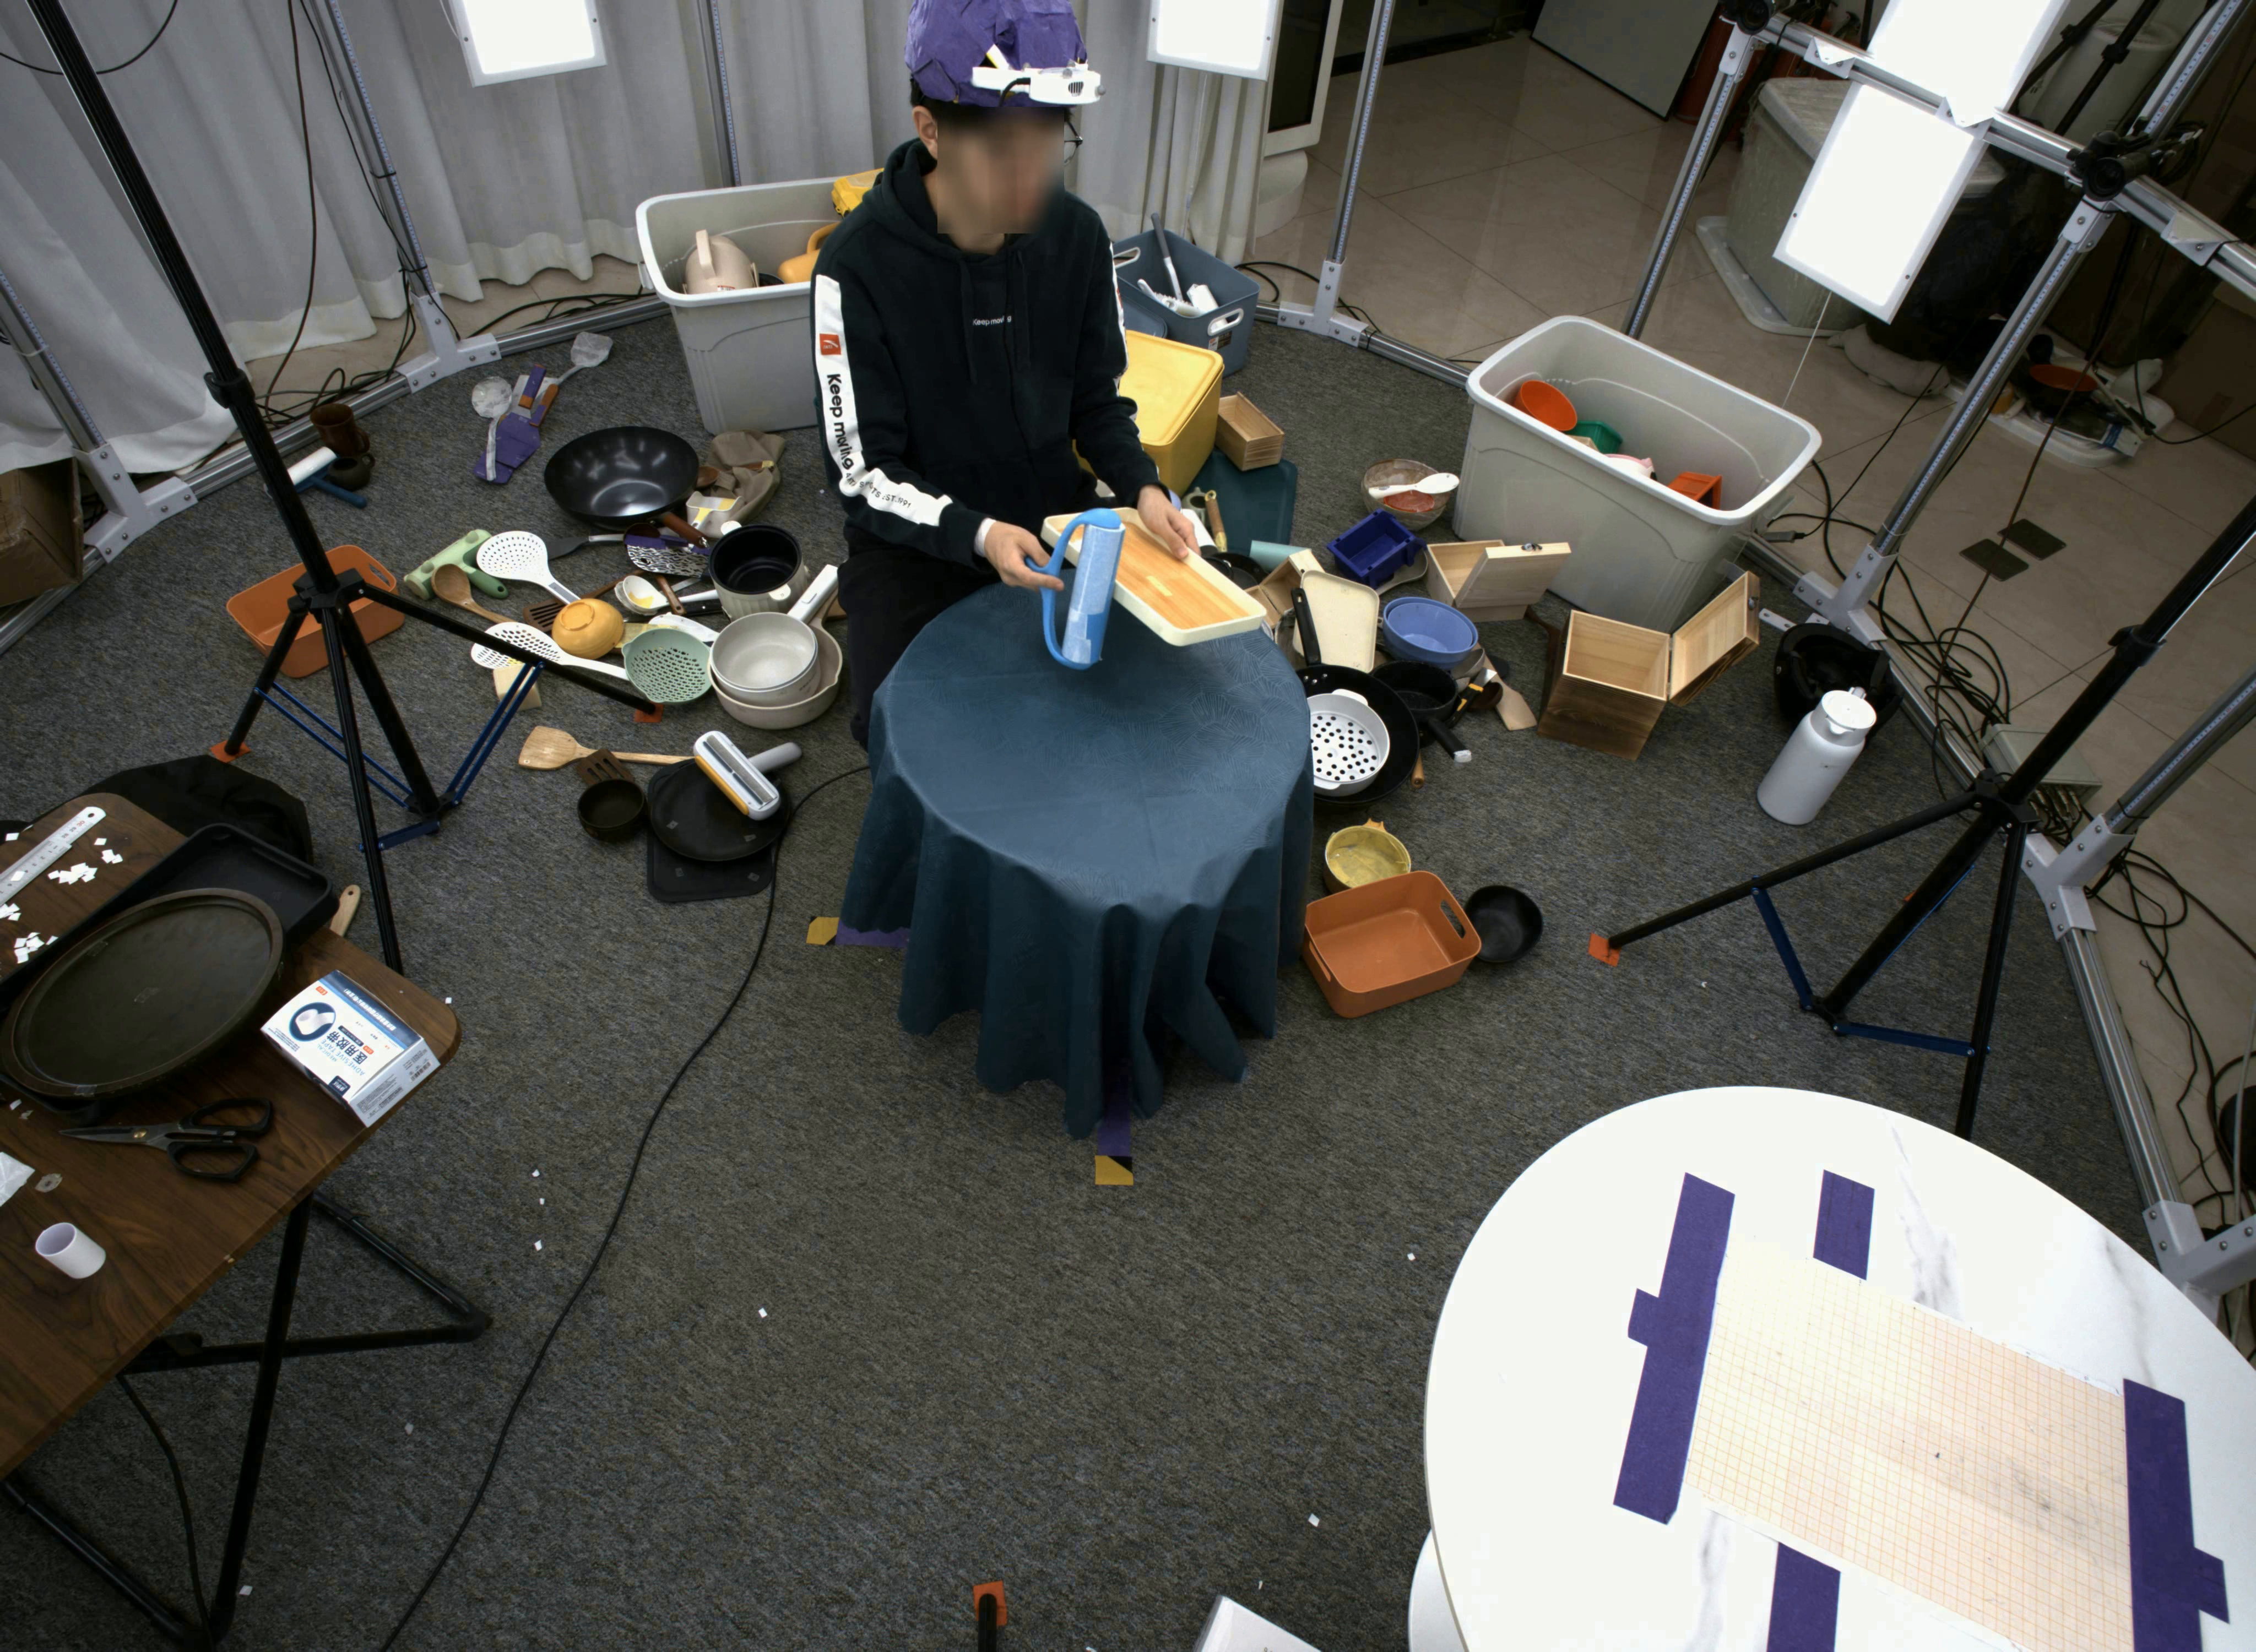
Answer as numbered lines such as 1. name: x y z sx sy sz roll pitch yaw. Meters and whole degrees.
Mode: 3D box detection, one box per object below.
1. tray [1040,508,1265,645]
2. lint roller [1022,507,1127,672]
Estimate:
1. tray: 0.033 -0.356 1.807 0.192 0.027 0.305 -17 50 -40
2. lint roller: -0.091 -0.335 1.746 0.182 0.224 0.068 25 32 29
